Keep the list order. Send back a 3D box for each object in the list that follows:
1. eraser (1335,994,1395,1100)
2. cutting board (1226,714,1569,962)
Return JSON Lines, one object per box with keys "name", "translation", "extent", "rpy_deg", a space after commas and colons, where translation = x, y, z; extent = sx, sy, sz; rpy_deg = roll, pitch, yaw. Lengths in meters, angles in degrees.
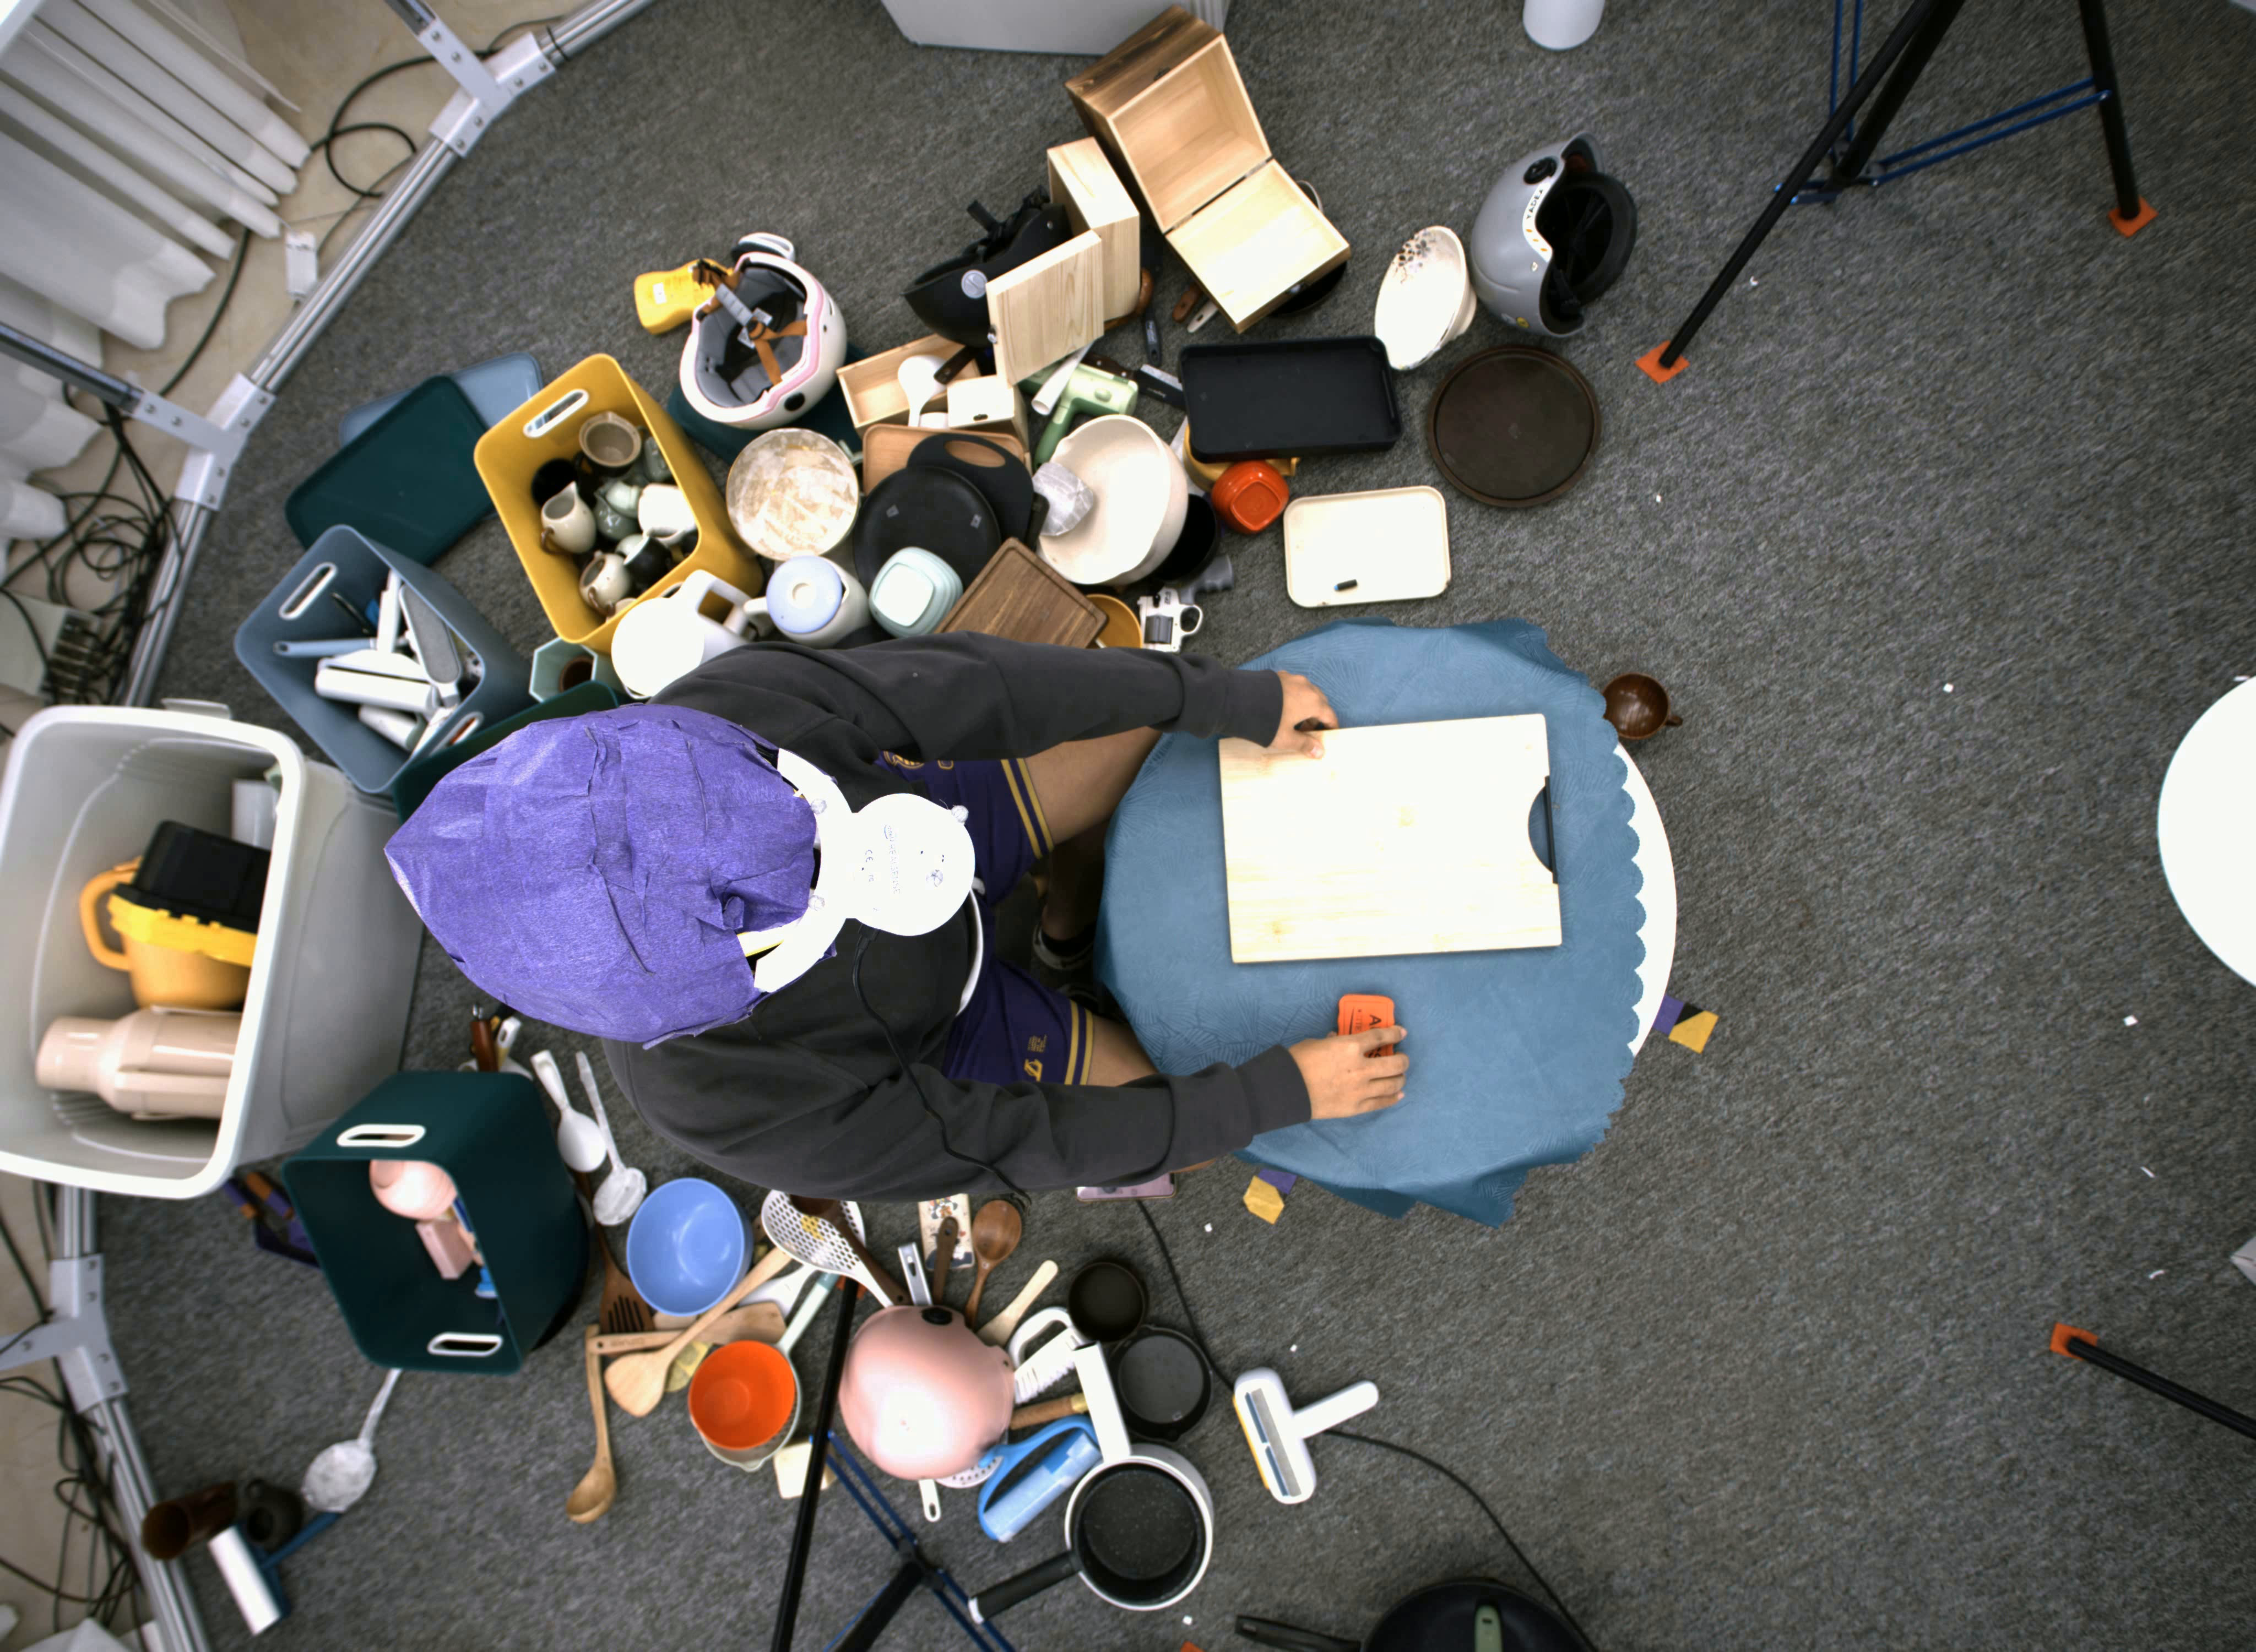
{"name": "eraser", "translation": [0.247, 0.229, 1.443], "extent": [0.059, 0.023, 0.107], "rpy_deg": [2, 87, 11]}
{"name": "cutting board", "translation": [0.276, 0.013, 1.447], "extent": [0.350, 0.023, 0.250], "rpy_deg": [-5, 89, 10]}
